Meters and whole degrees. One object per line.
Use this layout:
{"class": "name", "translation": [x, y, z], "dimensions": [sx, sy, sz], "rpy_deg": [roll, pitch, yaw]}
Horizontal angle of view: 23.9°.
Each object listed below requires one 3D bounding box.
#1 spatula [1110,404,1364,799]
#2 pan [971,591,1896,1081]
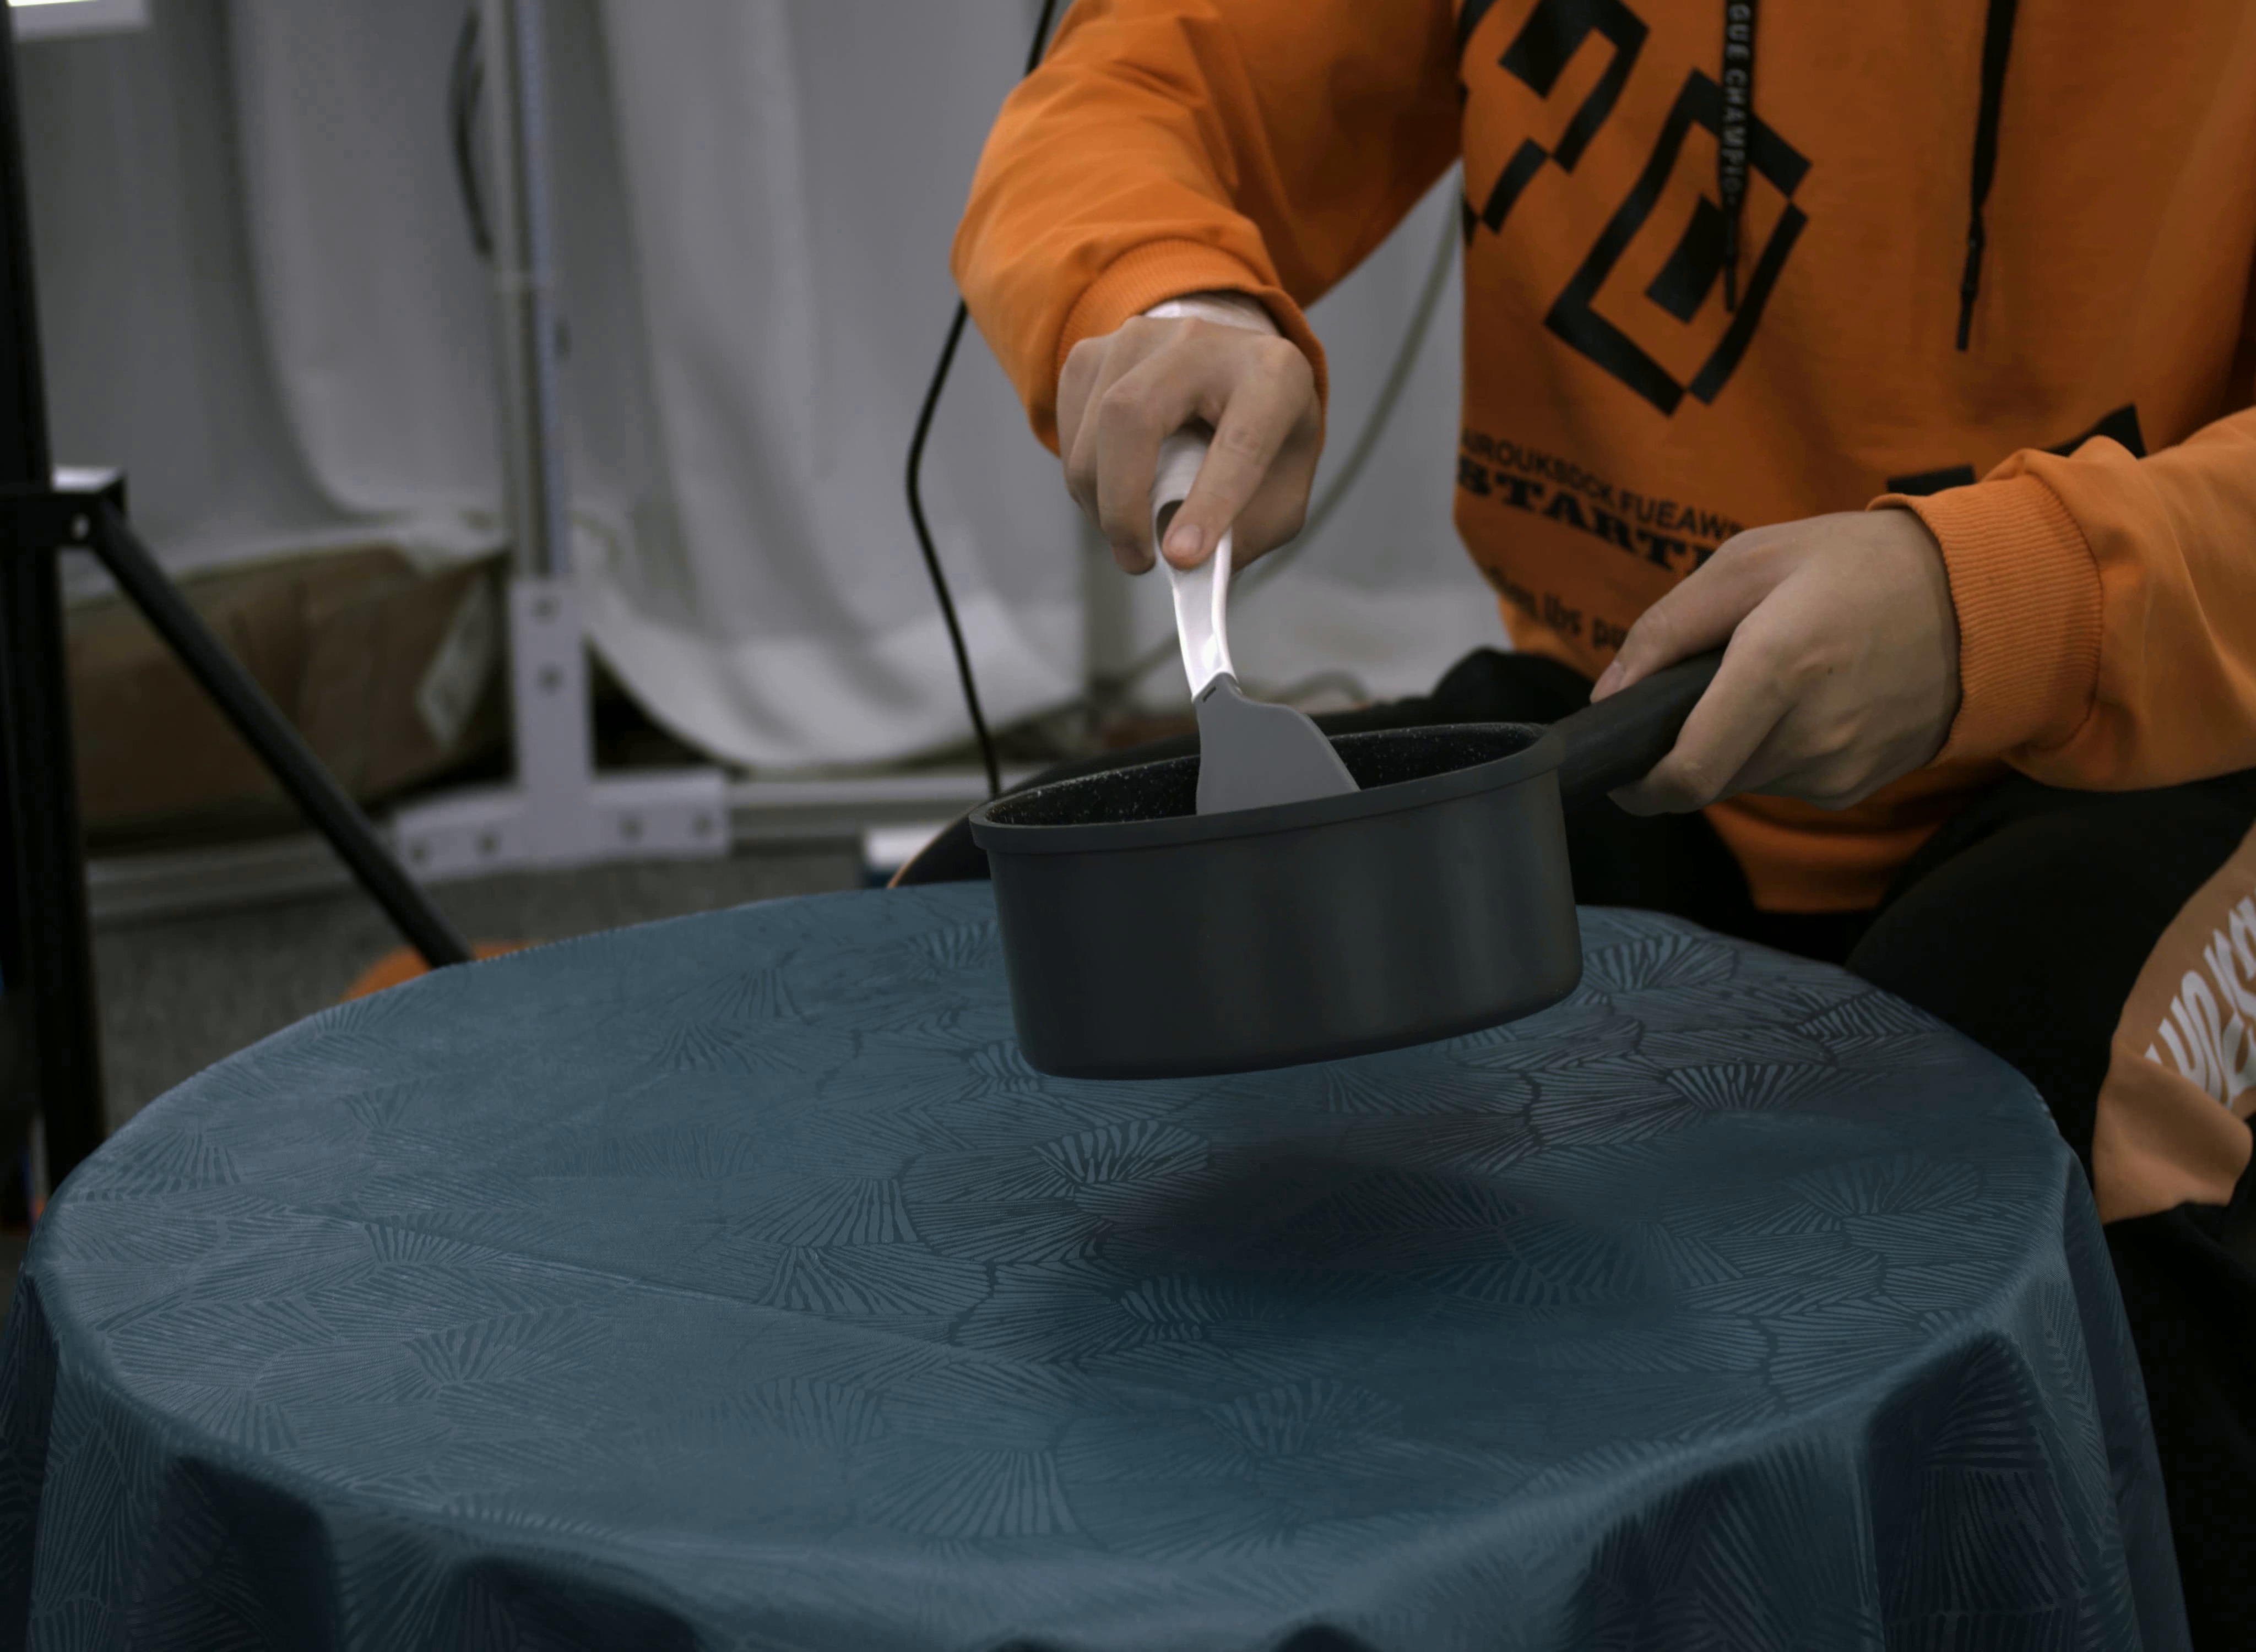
{"class": "spatula", "translation": [0.032, -0.052, 1.601], "dimensions": [0.059, 0.031, 0.291], "rpy_deg": [-44, 28, 14]}
{"class": "pan", "translation": [0.105, 0.003, 1.552], "dimensions": [0.321, 0.086, 0.175], "rpy_deg": [-15, 9, -36]}
